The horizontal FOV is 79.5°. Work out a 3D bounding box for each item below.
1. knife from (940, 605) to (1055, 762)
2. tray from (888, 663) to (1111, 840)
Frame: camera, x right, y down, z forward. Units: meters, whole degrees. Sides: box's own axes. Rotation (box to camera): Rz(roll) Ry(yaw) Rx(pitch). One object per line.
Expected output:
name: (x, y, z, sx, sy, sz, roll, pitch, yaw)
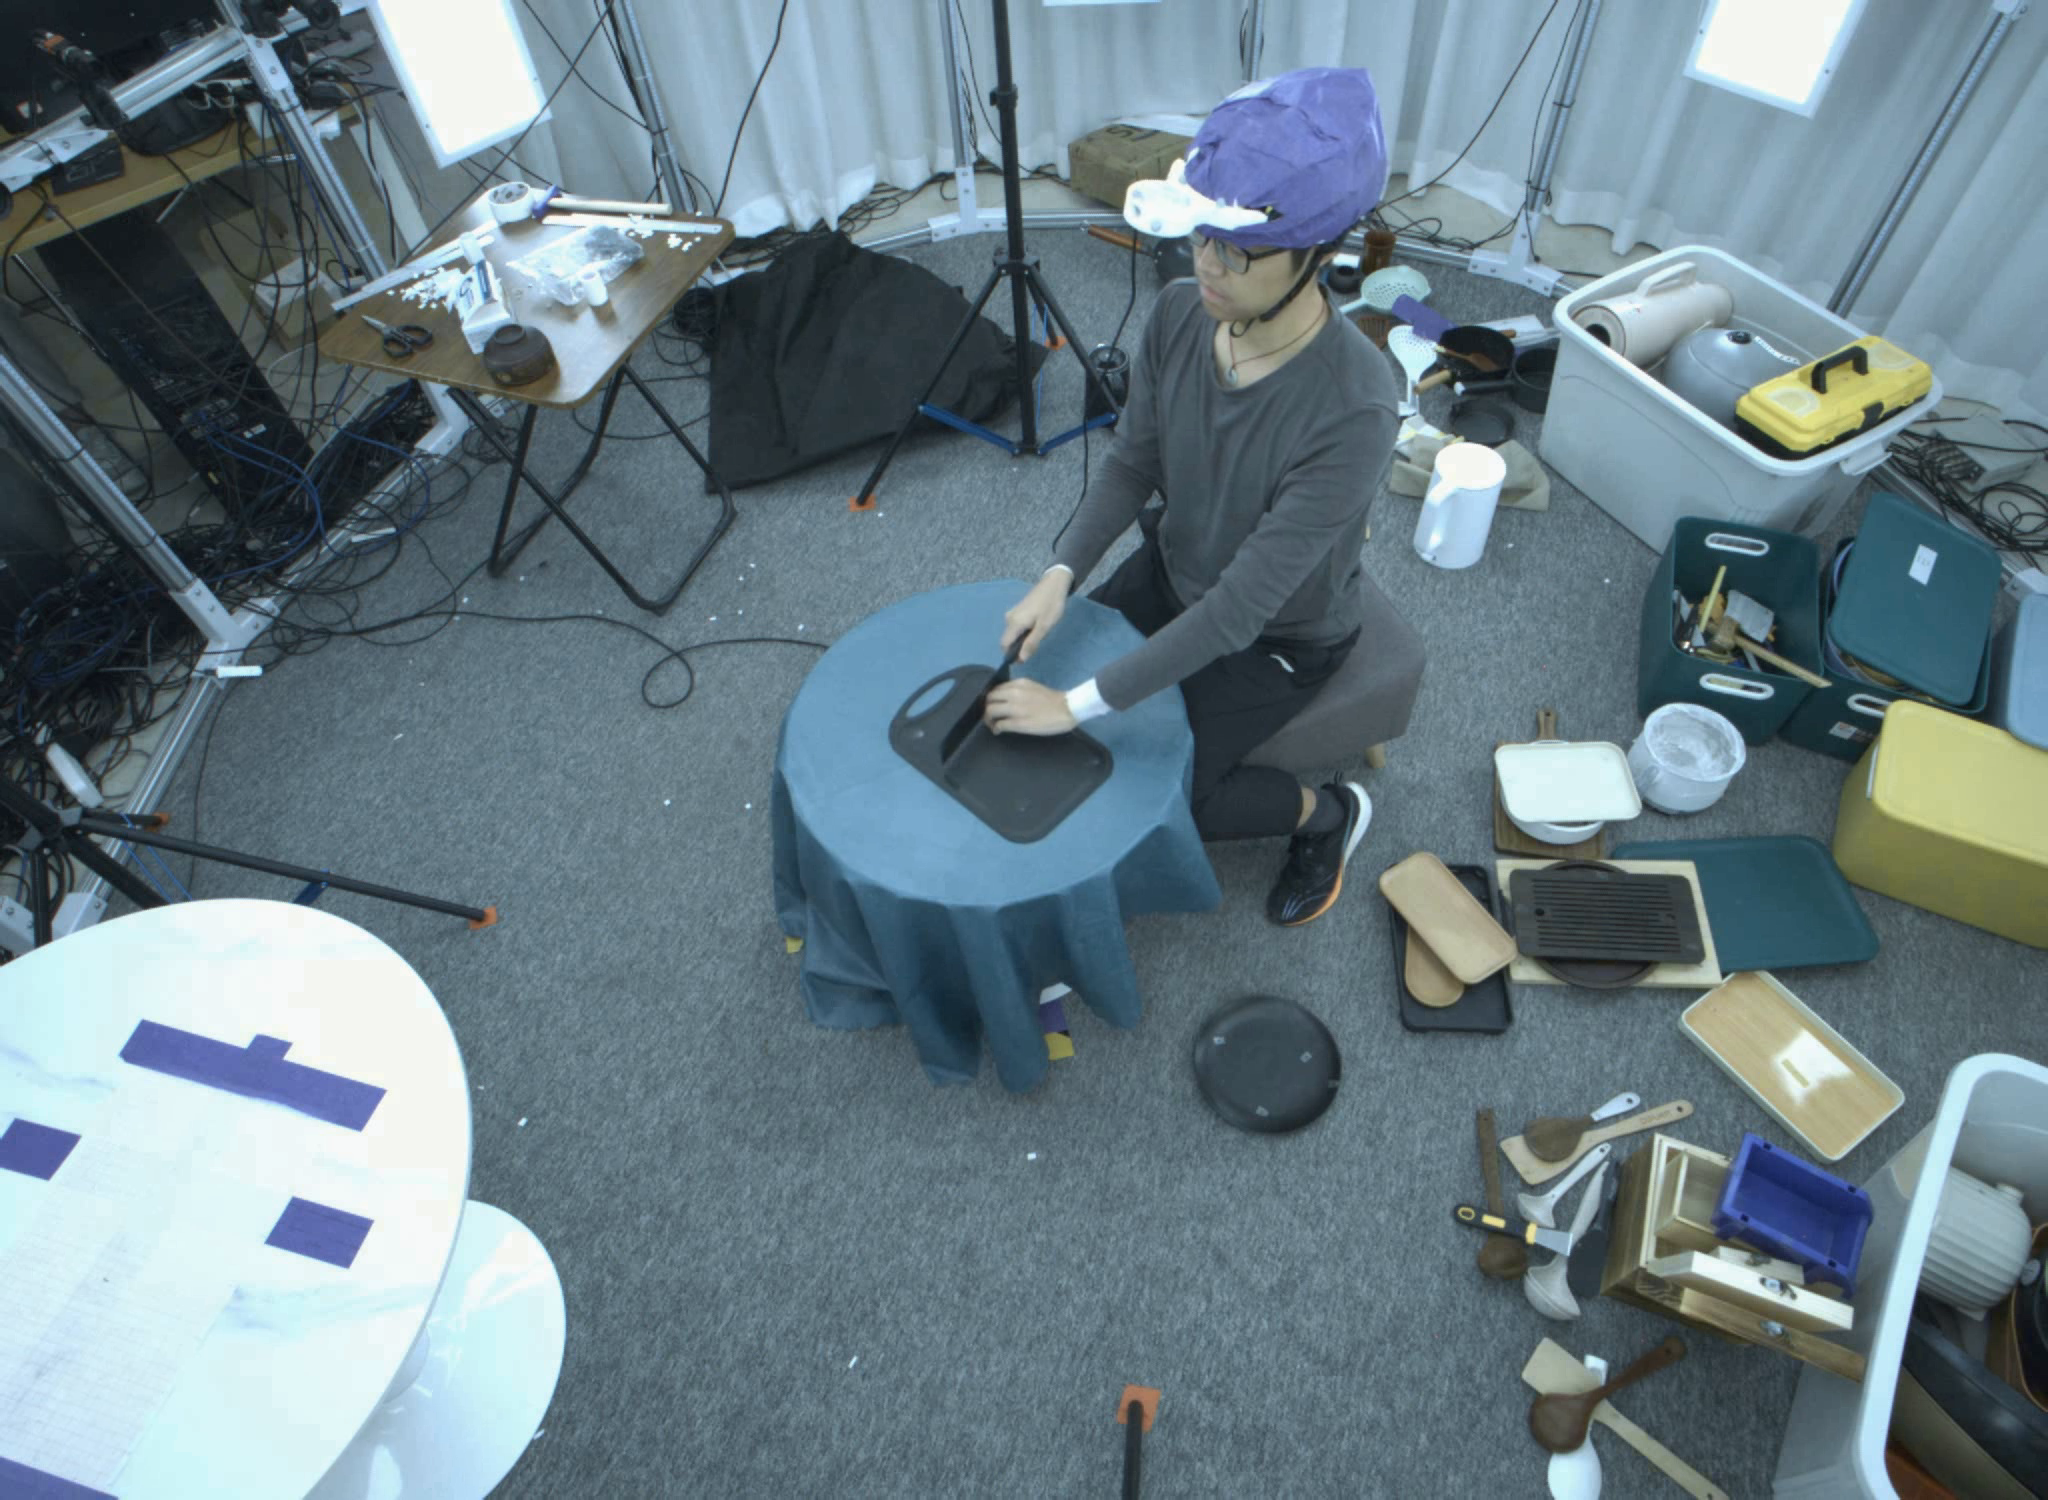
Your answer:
knife: (-0.040, -0.103, 1.807, 0.020, 0.081, 0.303, 28, 65, 16)
tray: (-0.044, -0.009, 1.798, 0.320, 0.010, 0.212, 38, 63, 24)
